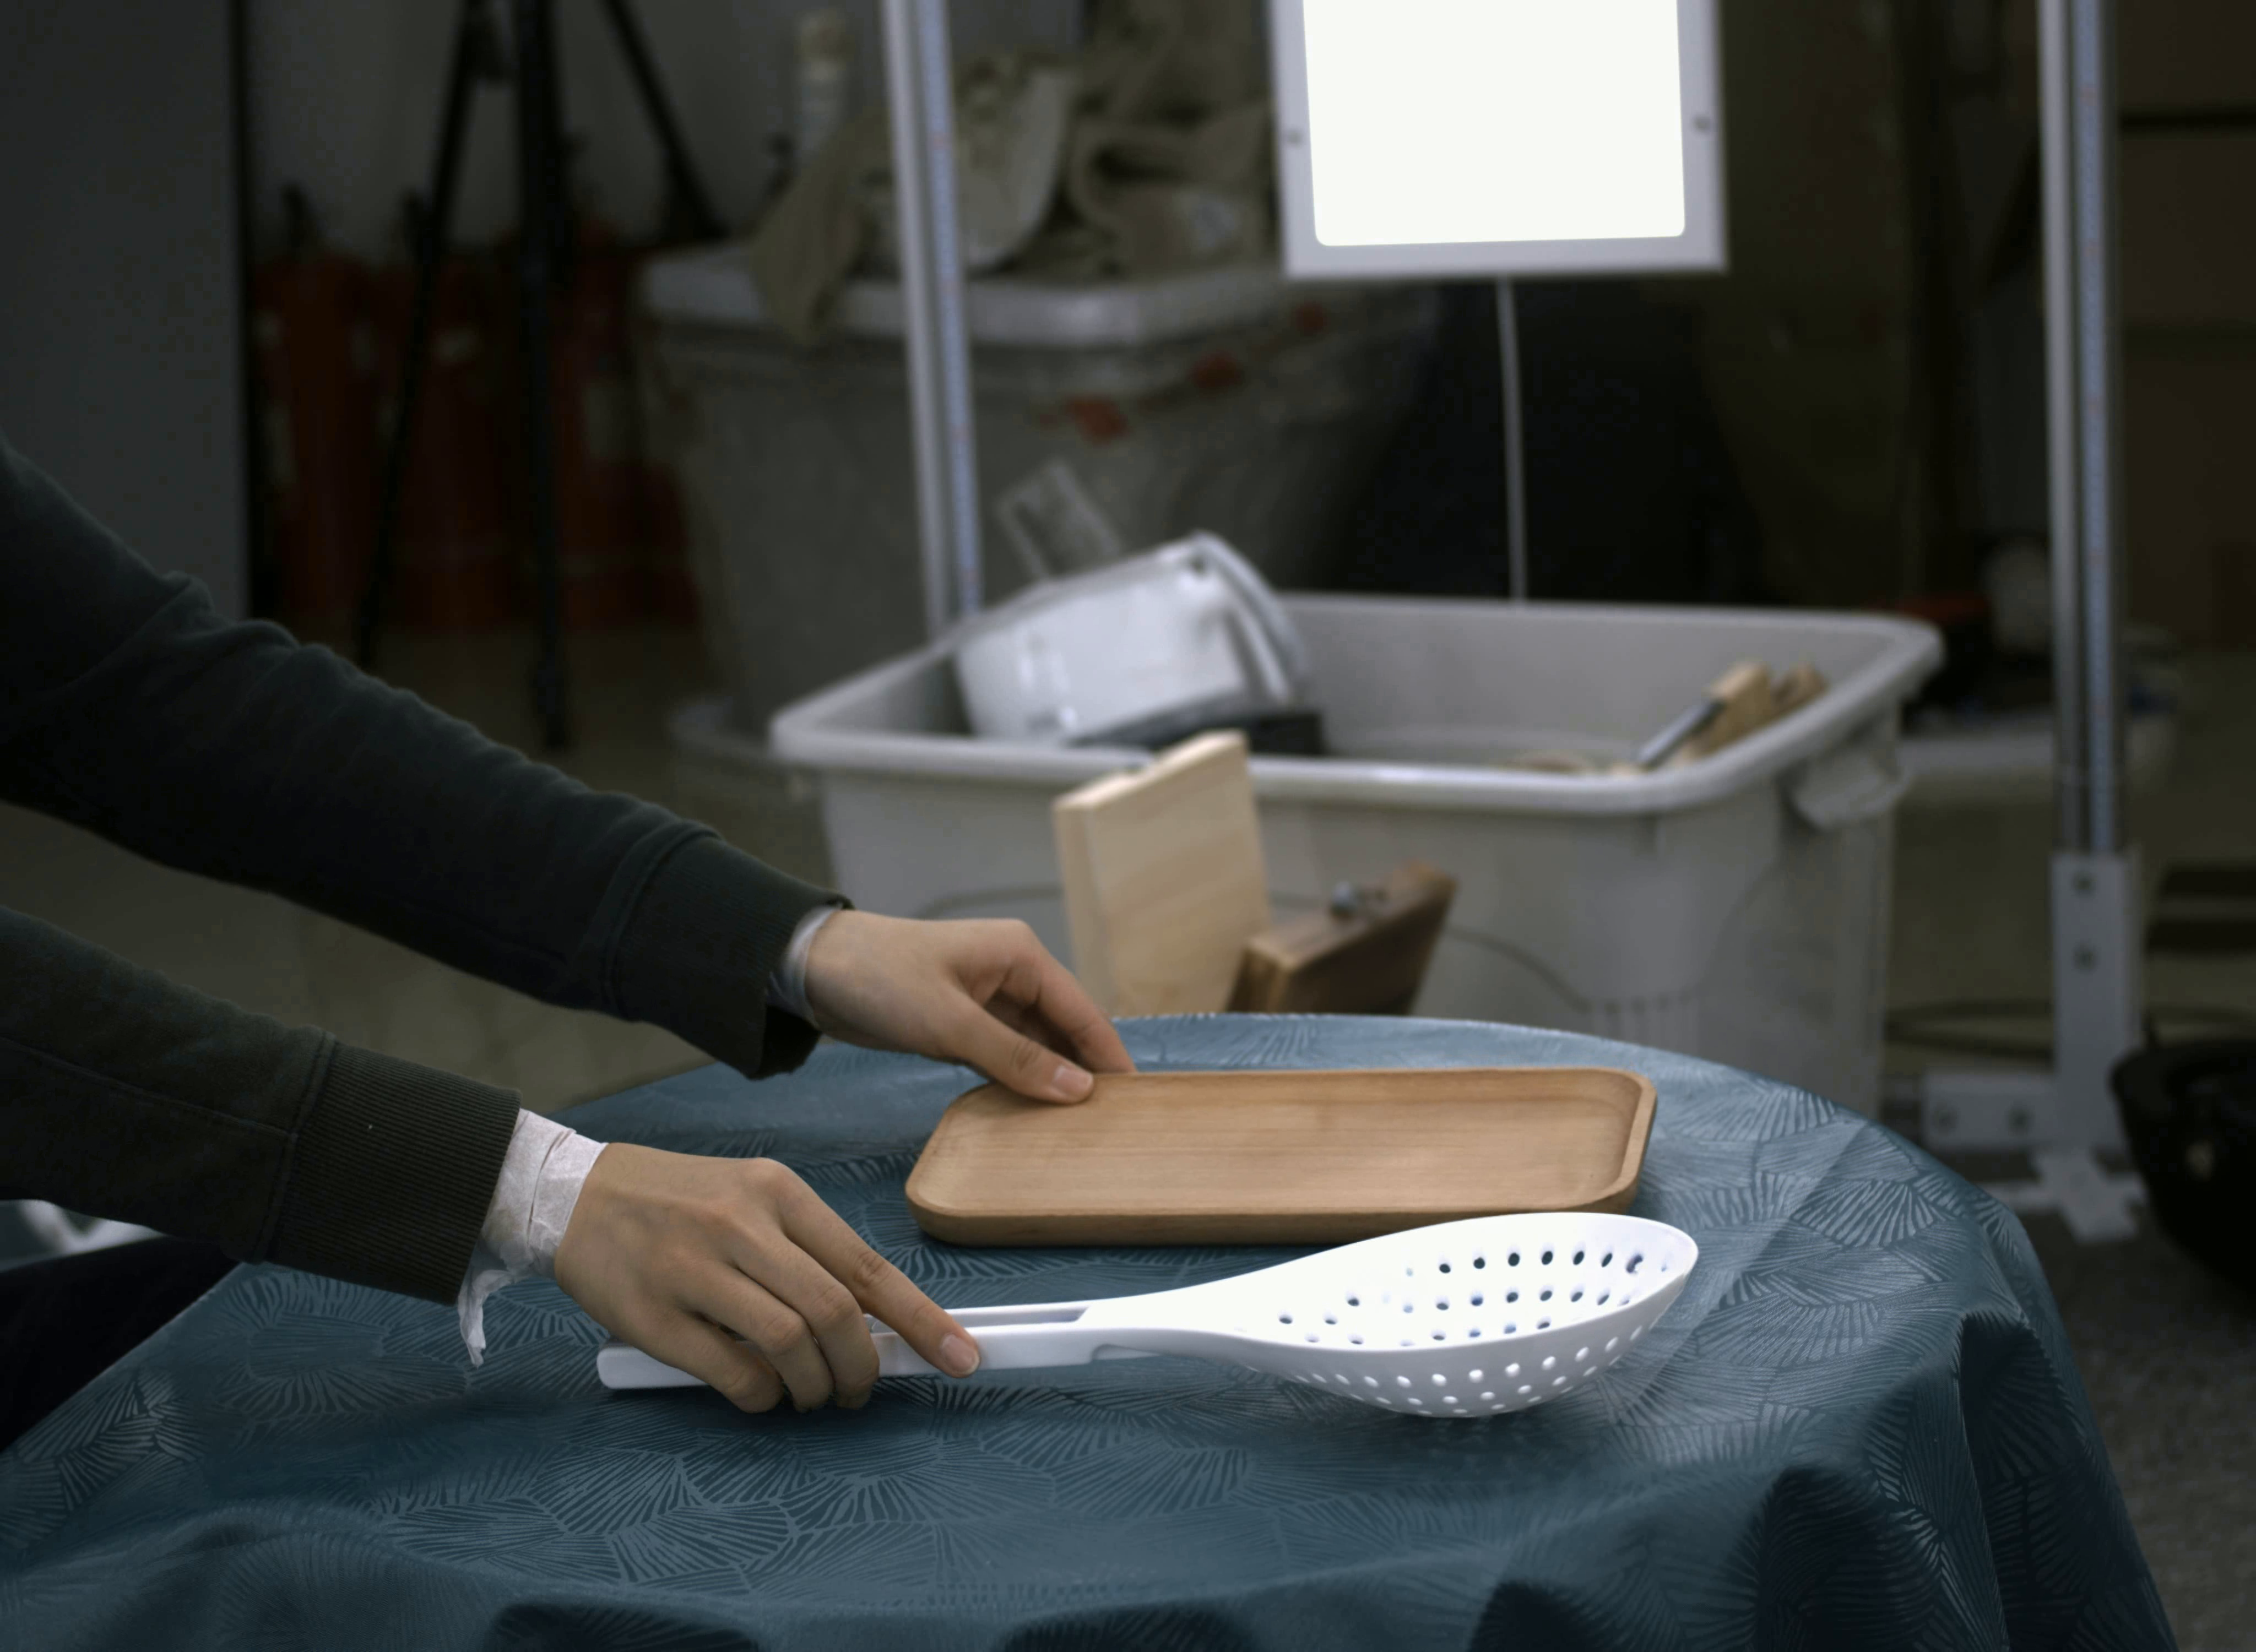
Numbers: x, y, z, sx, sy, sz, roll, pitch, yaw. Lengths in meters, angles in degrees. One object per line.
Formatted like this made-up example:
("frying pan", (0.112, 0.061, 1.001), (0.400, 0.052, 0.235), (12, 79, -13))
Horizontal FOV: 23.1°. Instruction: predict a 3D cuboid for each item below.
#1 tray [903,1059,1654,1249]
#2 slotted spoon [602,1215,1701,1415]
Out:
("tray", (0.053, 0.112, 1.880), (0.253, 0.023, 0.129), (-2, 17, 14))
("slotted spoon", (0.003, 0.153, 1.689), (0.354, 0.046, 0.134), (-1, 11, 18))
